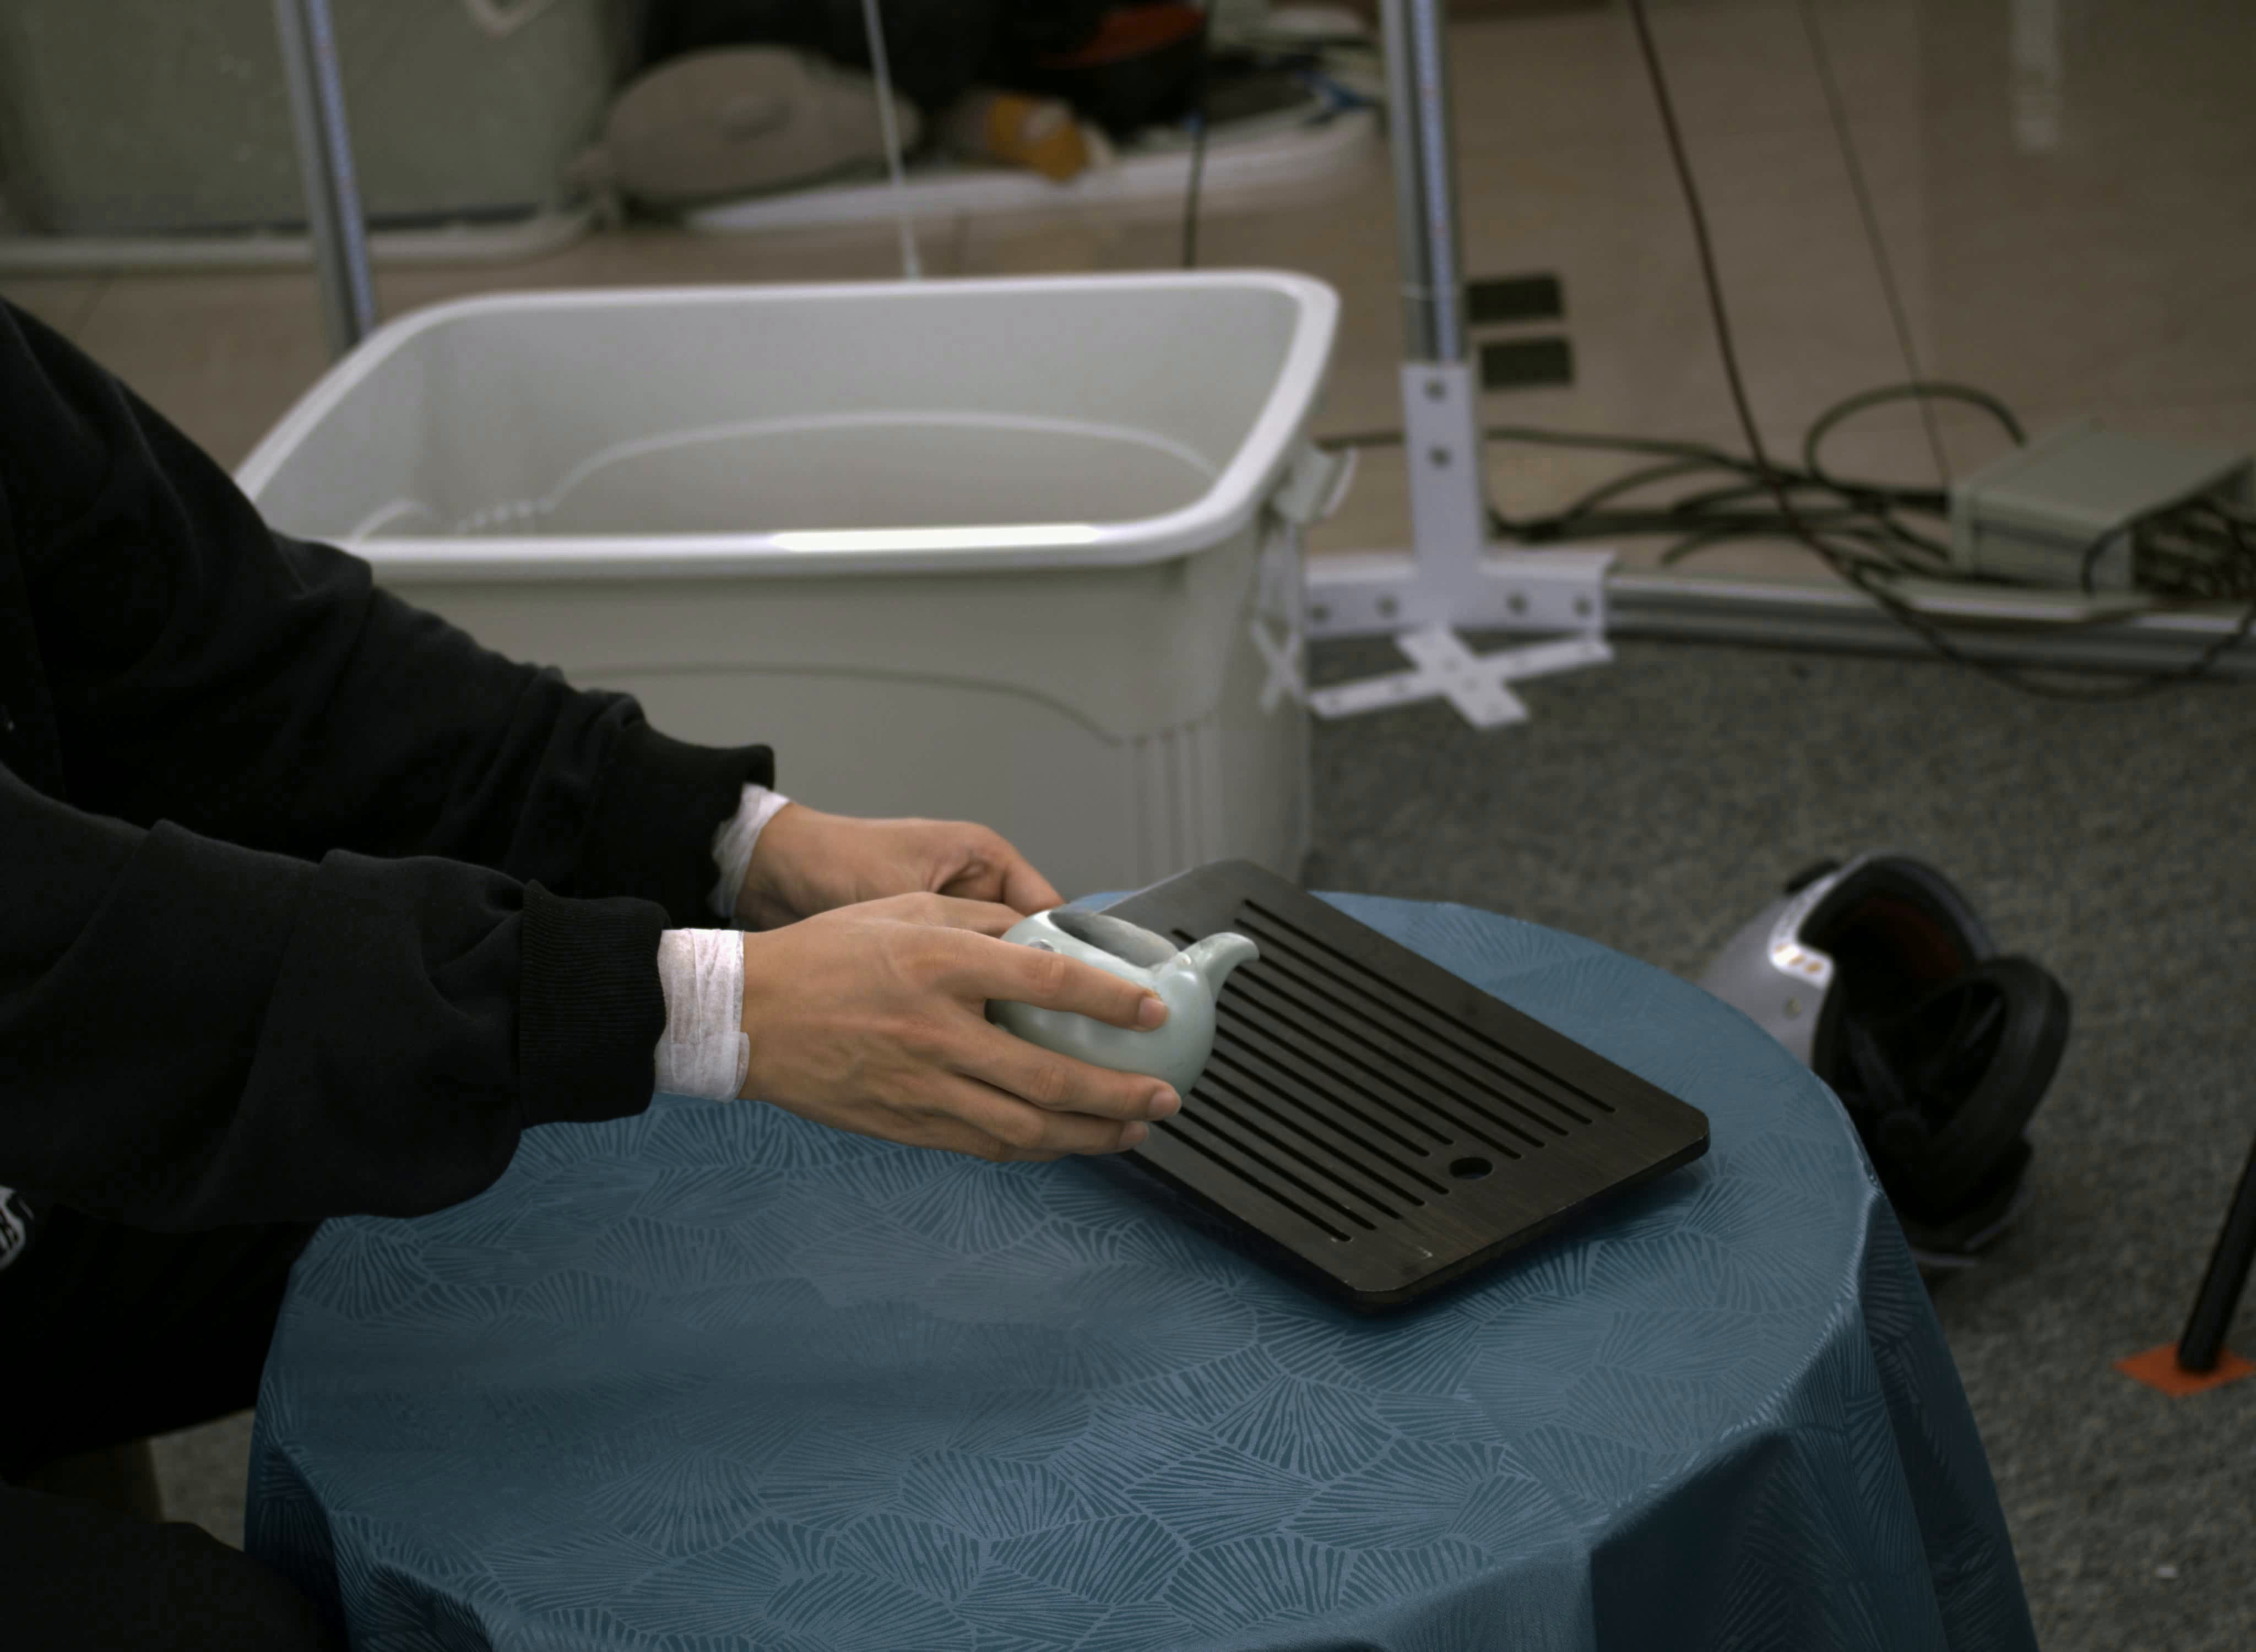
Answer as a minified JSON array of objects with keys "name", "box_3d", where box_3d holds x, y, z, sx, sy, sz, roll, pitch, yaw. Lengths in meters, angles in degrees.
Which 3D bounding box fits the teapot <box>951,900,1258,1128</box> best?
[{"name":"teapot","box_3d":[-0.013,0.067,2.035,0.144,0.075,0.087,9,16,-45]}]

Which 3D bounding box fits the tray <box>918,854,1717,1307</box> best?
[{"name":"tray","box_3d":[0.069,0.095,2.183,0.169,0.019,0.302,-23,33,-29]}]
